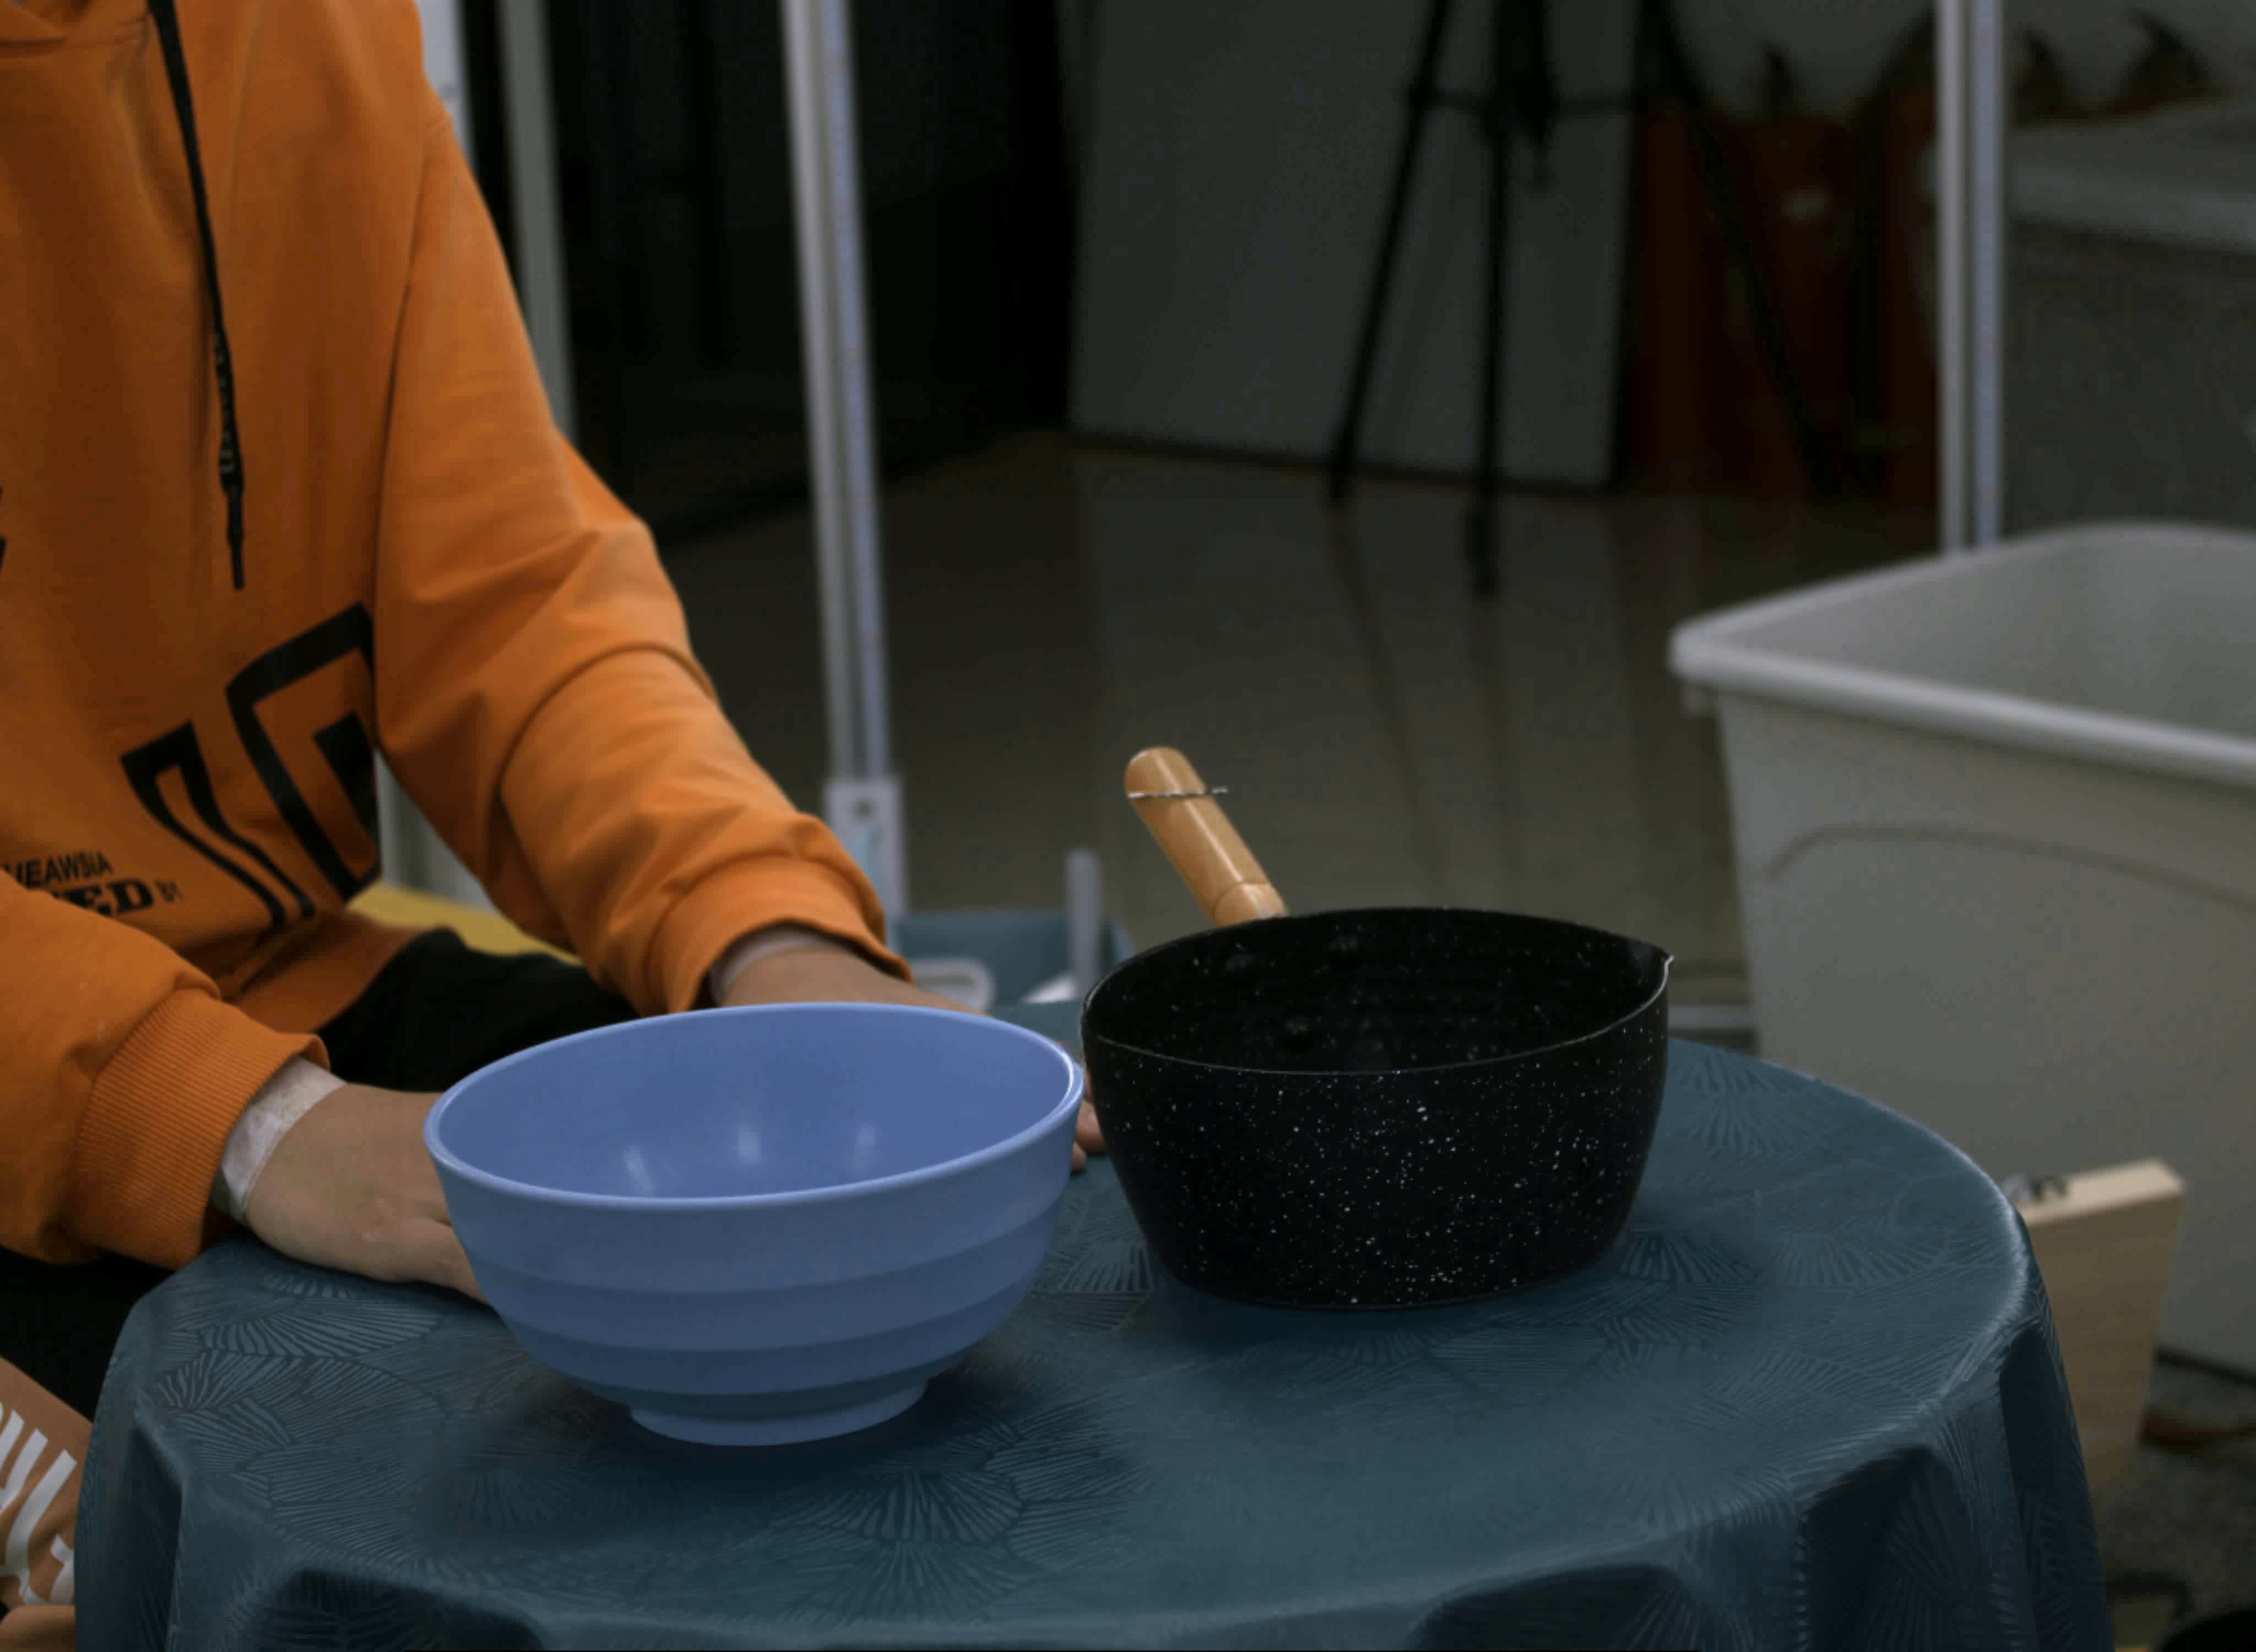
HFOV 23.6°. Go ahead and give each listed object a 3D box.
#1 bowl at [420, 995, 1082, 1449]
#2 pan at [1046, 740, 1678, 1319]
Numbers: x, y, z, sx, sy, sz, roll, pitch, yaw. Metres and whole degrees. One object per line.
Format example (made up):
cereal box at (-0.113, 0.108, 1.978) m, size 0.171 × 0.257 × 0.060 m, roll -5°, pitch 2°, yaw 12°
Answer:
bowl at (-0.107, 0.123, 1.594) m, size 0.194 × 0.096 × 0.197 m, roll -4°, pitch 15°, yaw 0°
pan at (0.056, 0.061, 1.770) m, size 0.203 × 0.109 × 0.345 m, roll -9°, pitch 16°, yaw -14°
